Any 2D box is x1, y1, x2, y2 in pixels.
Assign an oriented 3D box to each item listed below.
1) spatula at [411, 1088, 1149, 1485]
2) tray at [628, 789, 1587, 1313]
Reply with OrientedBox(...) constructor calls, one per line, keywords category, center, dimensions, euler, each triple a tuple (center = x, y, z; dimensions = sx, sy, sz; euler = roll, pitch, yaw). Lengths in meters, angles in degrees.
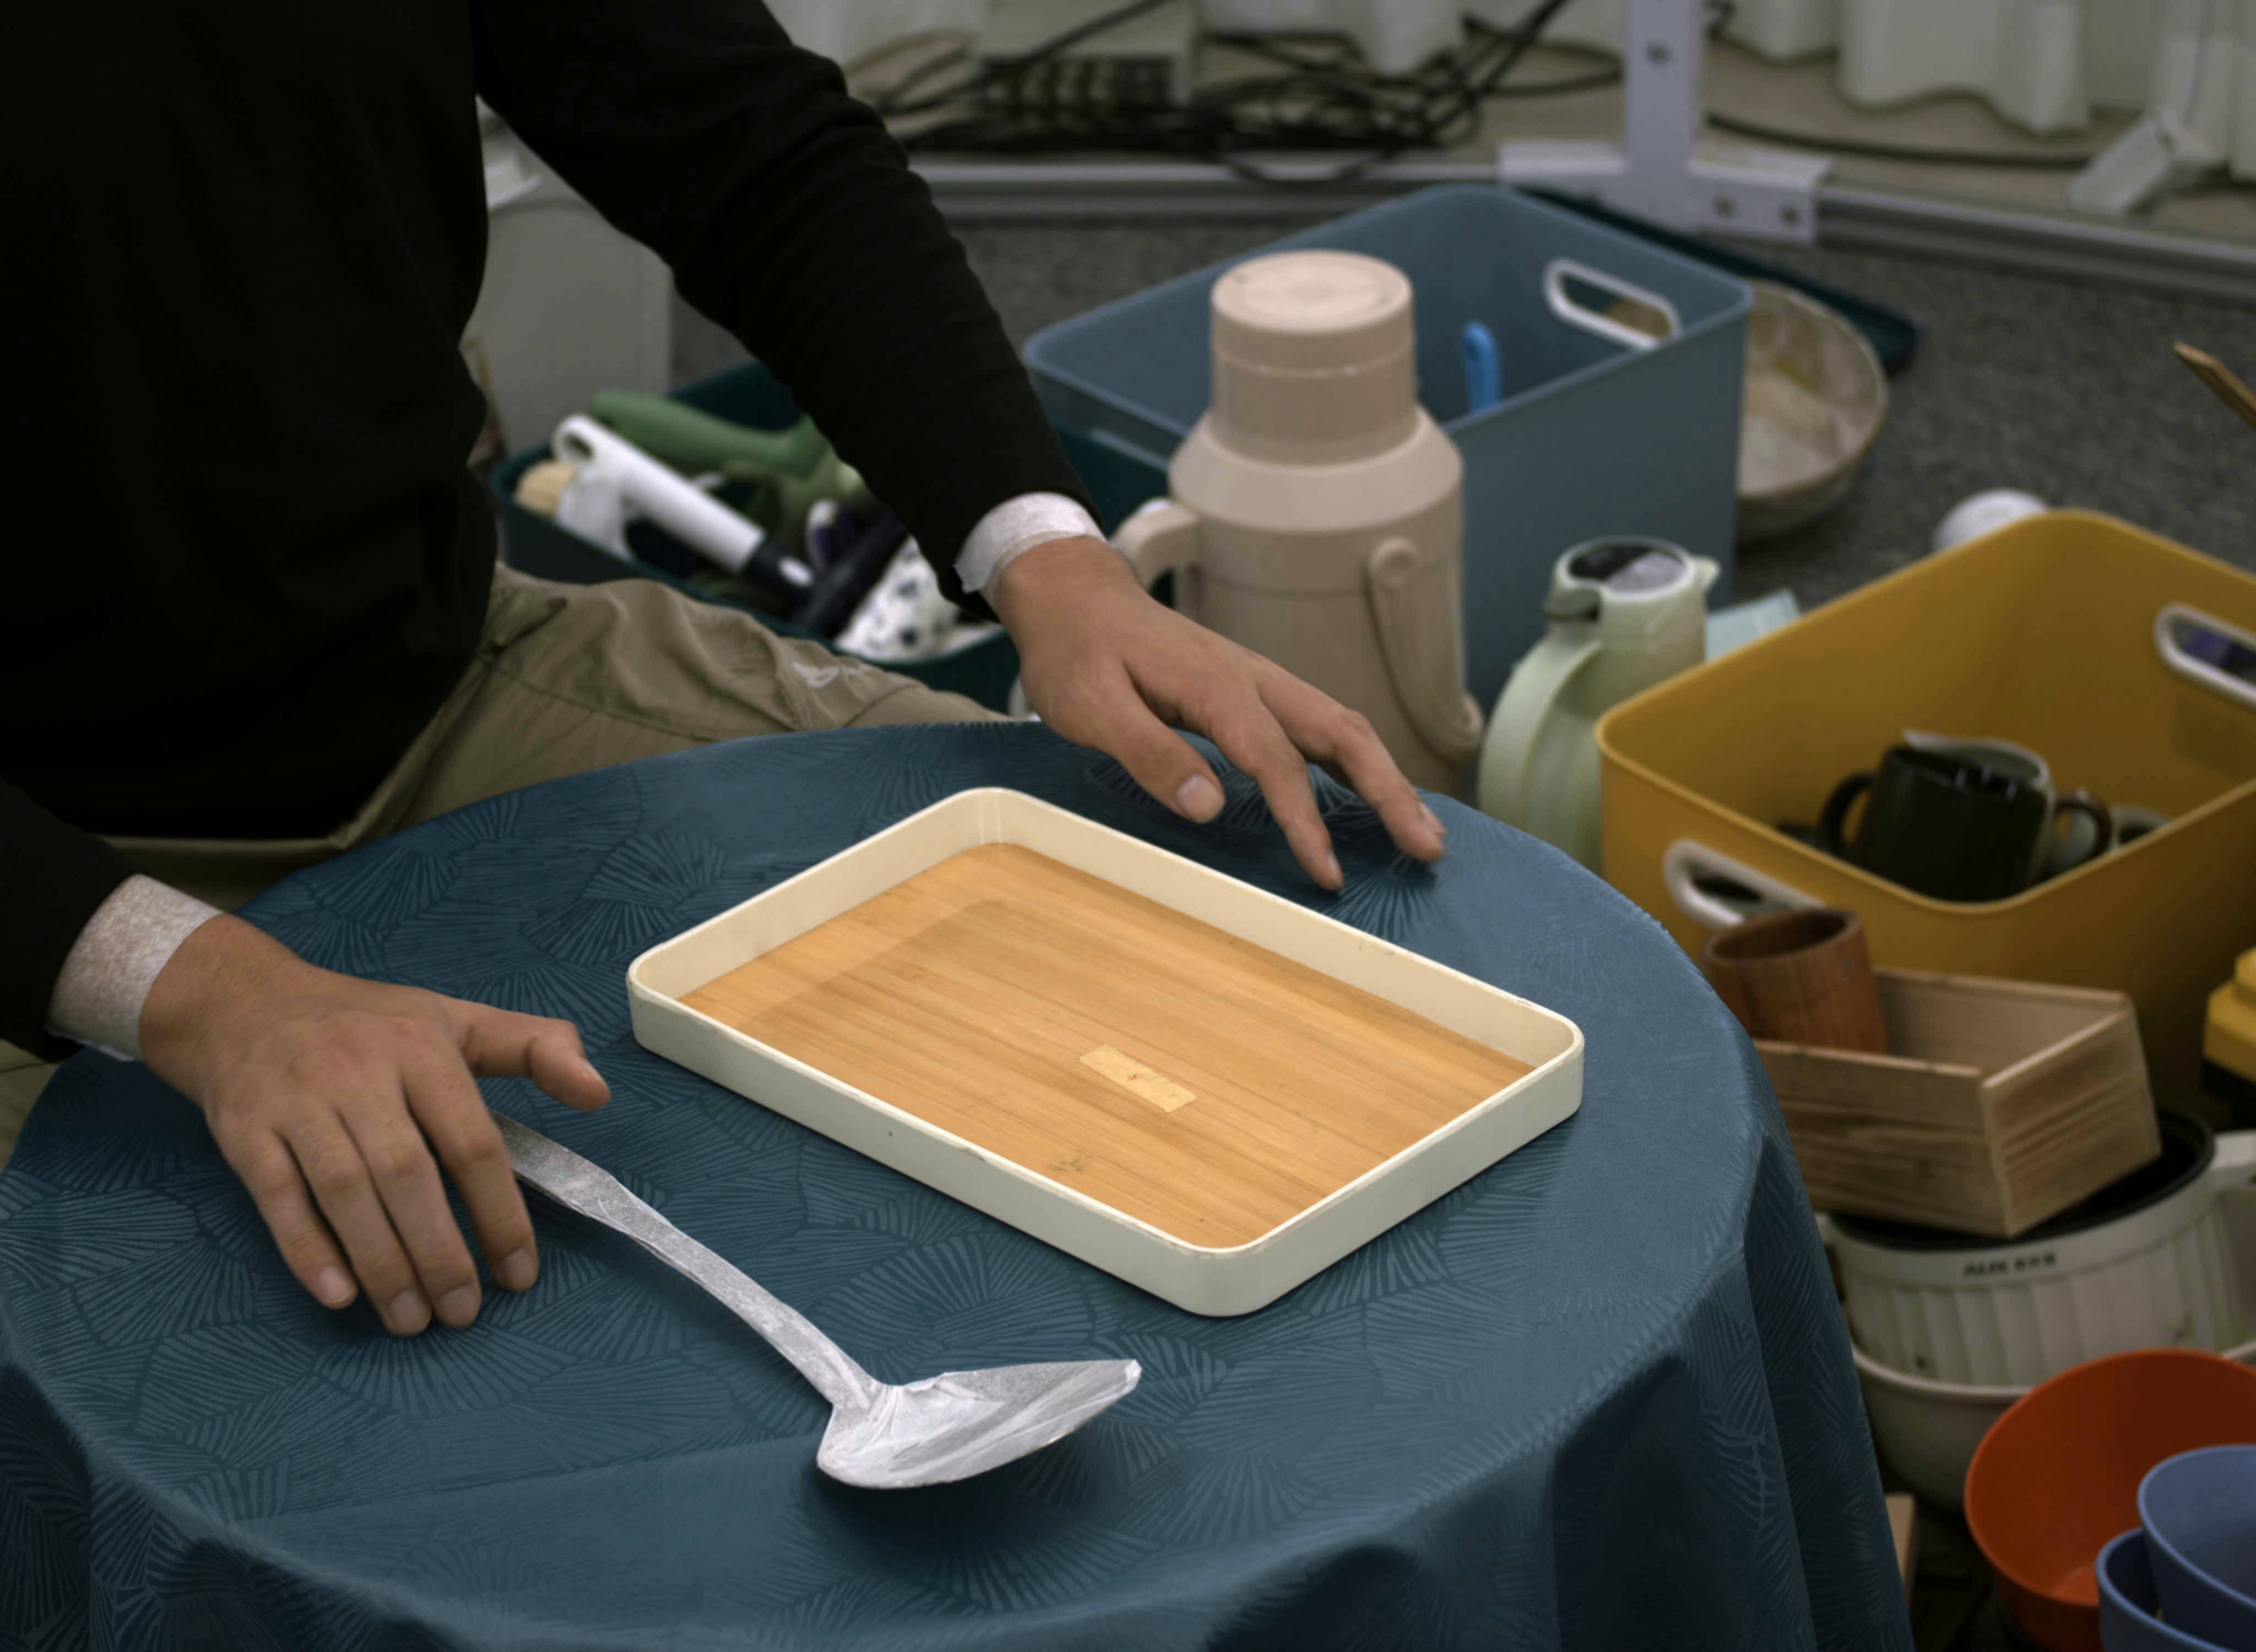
OrientedBox(category="spatula", center=(-0.135, 0.138, 1.801), dimensions=(0.100, 0.044, 0.365), euler=(-24, 34, -33))
OrientedBox(category="tray", center=(-0.010, 0.072, 1.929), dimensions=(0.300, 0.027, 0.194), euler=(22, 37, 40))
